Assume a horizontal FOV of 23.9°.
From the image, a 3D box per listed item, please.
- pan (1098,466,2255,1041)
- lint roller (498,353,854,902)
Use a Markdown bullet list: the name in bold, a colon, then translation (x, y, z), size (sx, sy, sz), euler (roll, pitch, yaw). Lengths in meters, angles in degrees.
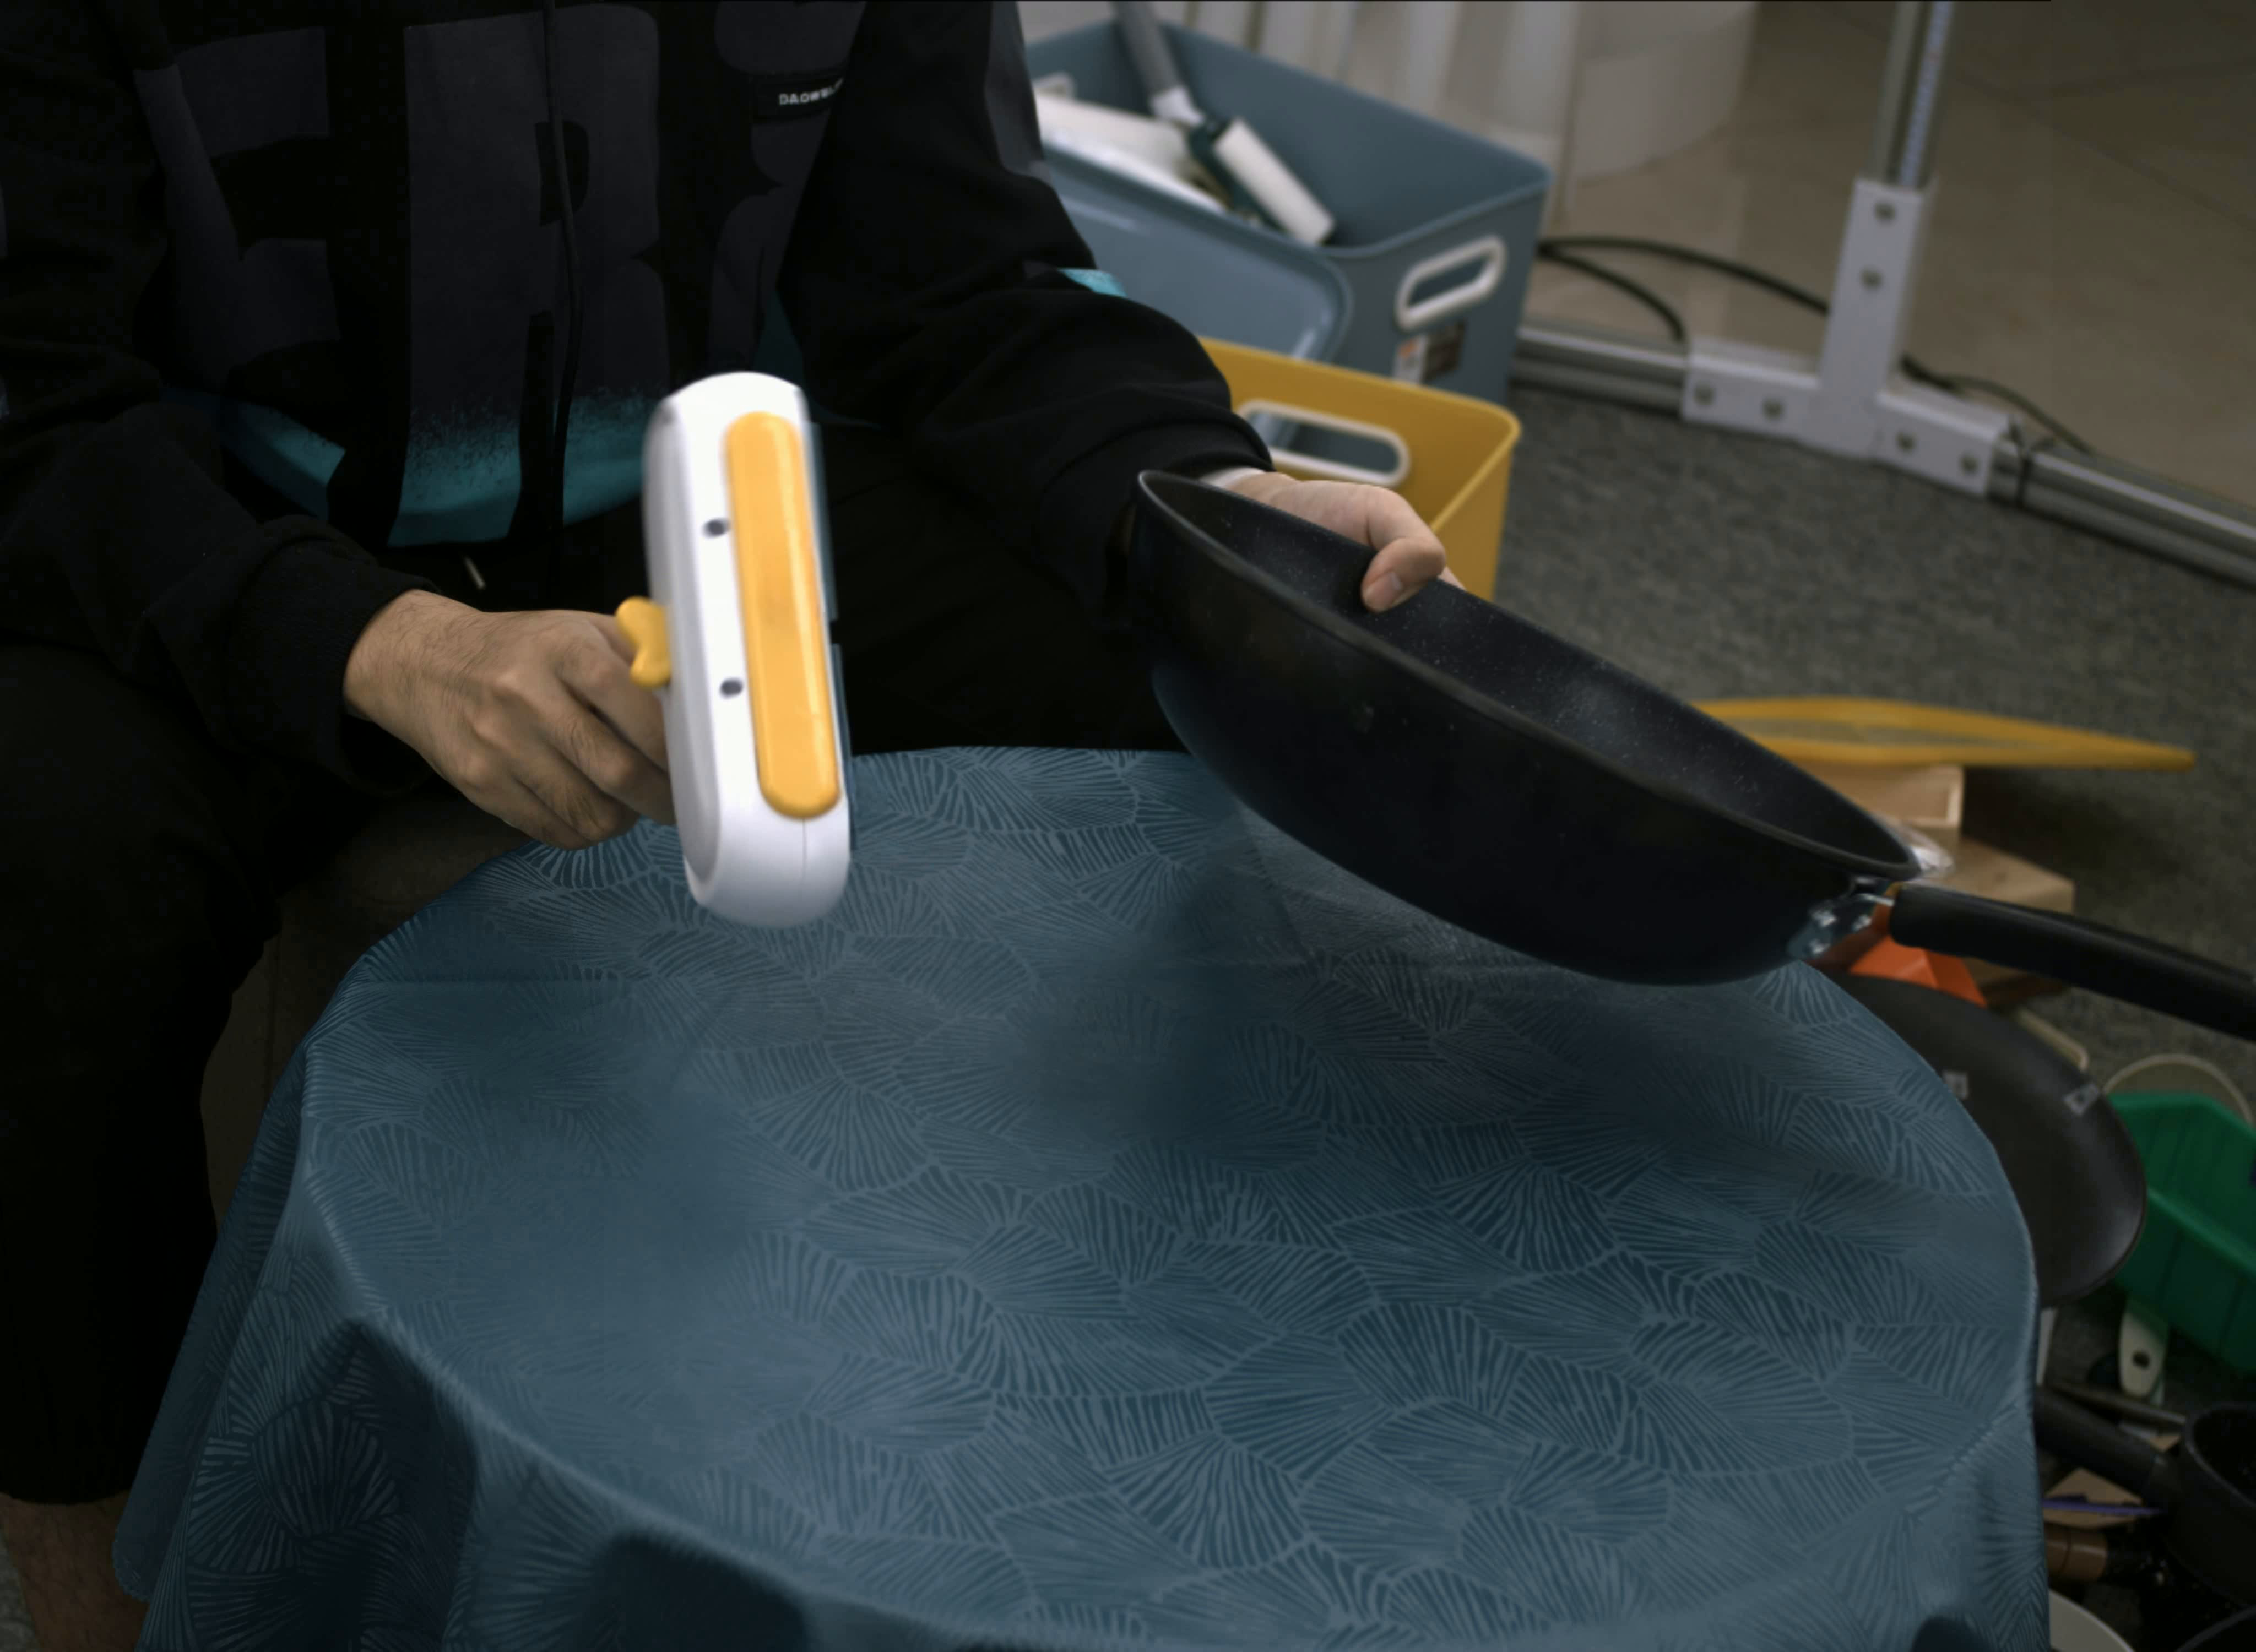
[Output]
- **pan**: translation (0.186, 0.006, 1.845), size (0.479, 0.111, 0.308), euler (30, 10, 24)
- **lint roller**: translation (-0.159, -0.043, 1.839), size (0.073, 0.192, 0.194), euler (2, 64, -28)
